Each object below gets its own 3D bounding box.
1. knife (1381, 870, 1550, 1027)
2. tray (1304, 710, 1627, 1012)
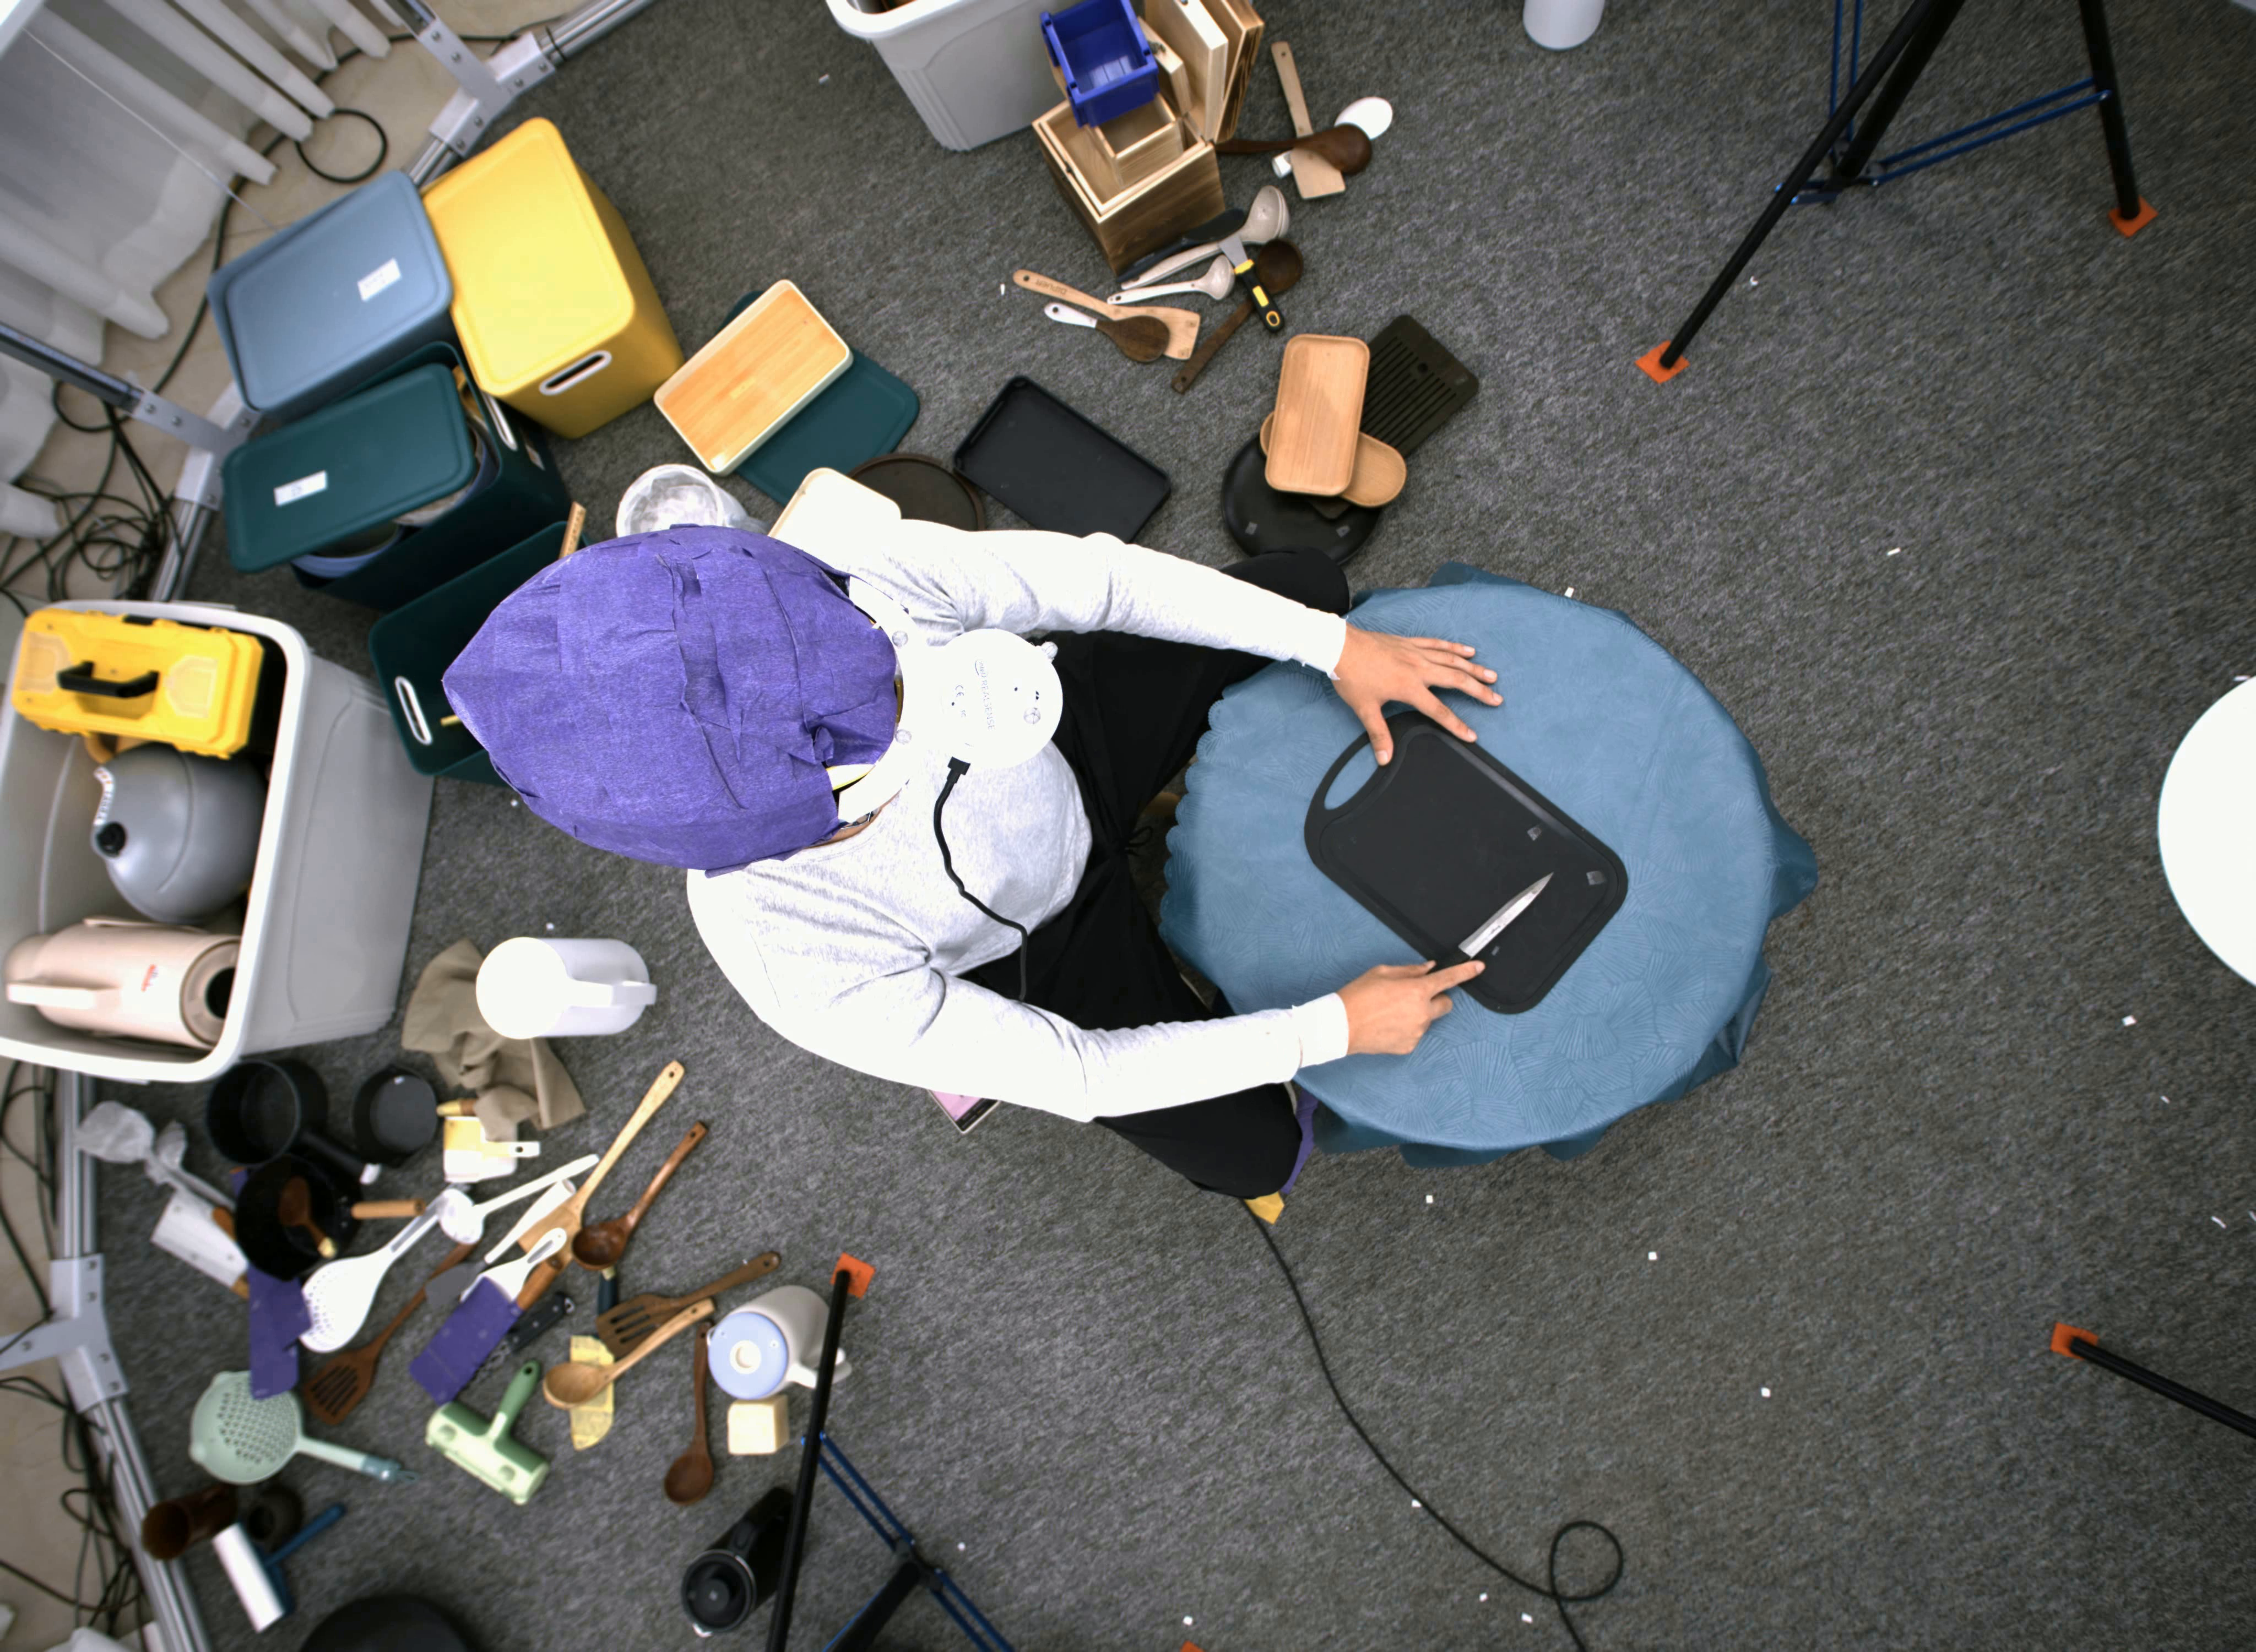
[{"bbox_3d":[0.353,0.124,1.423,0.237,0.016,0.024,-42,48,-3],"label":"knife"},{"bbox_3d":[0.345,0.028,1.445,0.324,0.010,0.212,41,94,10],"label":"tray"}]
